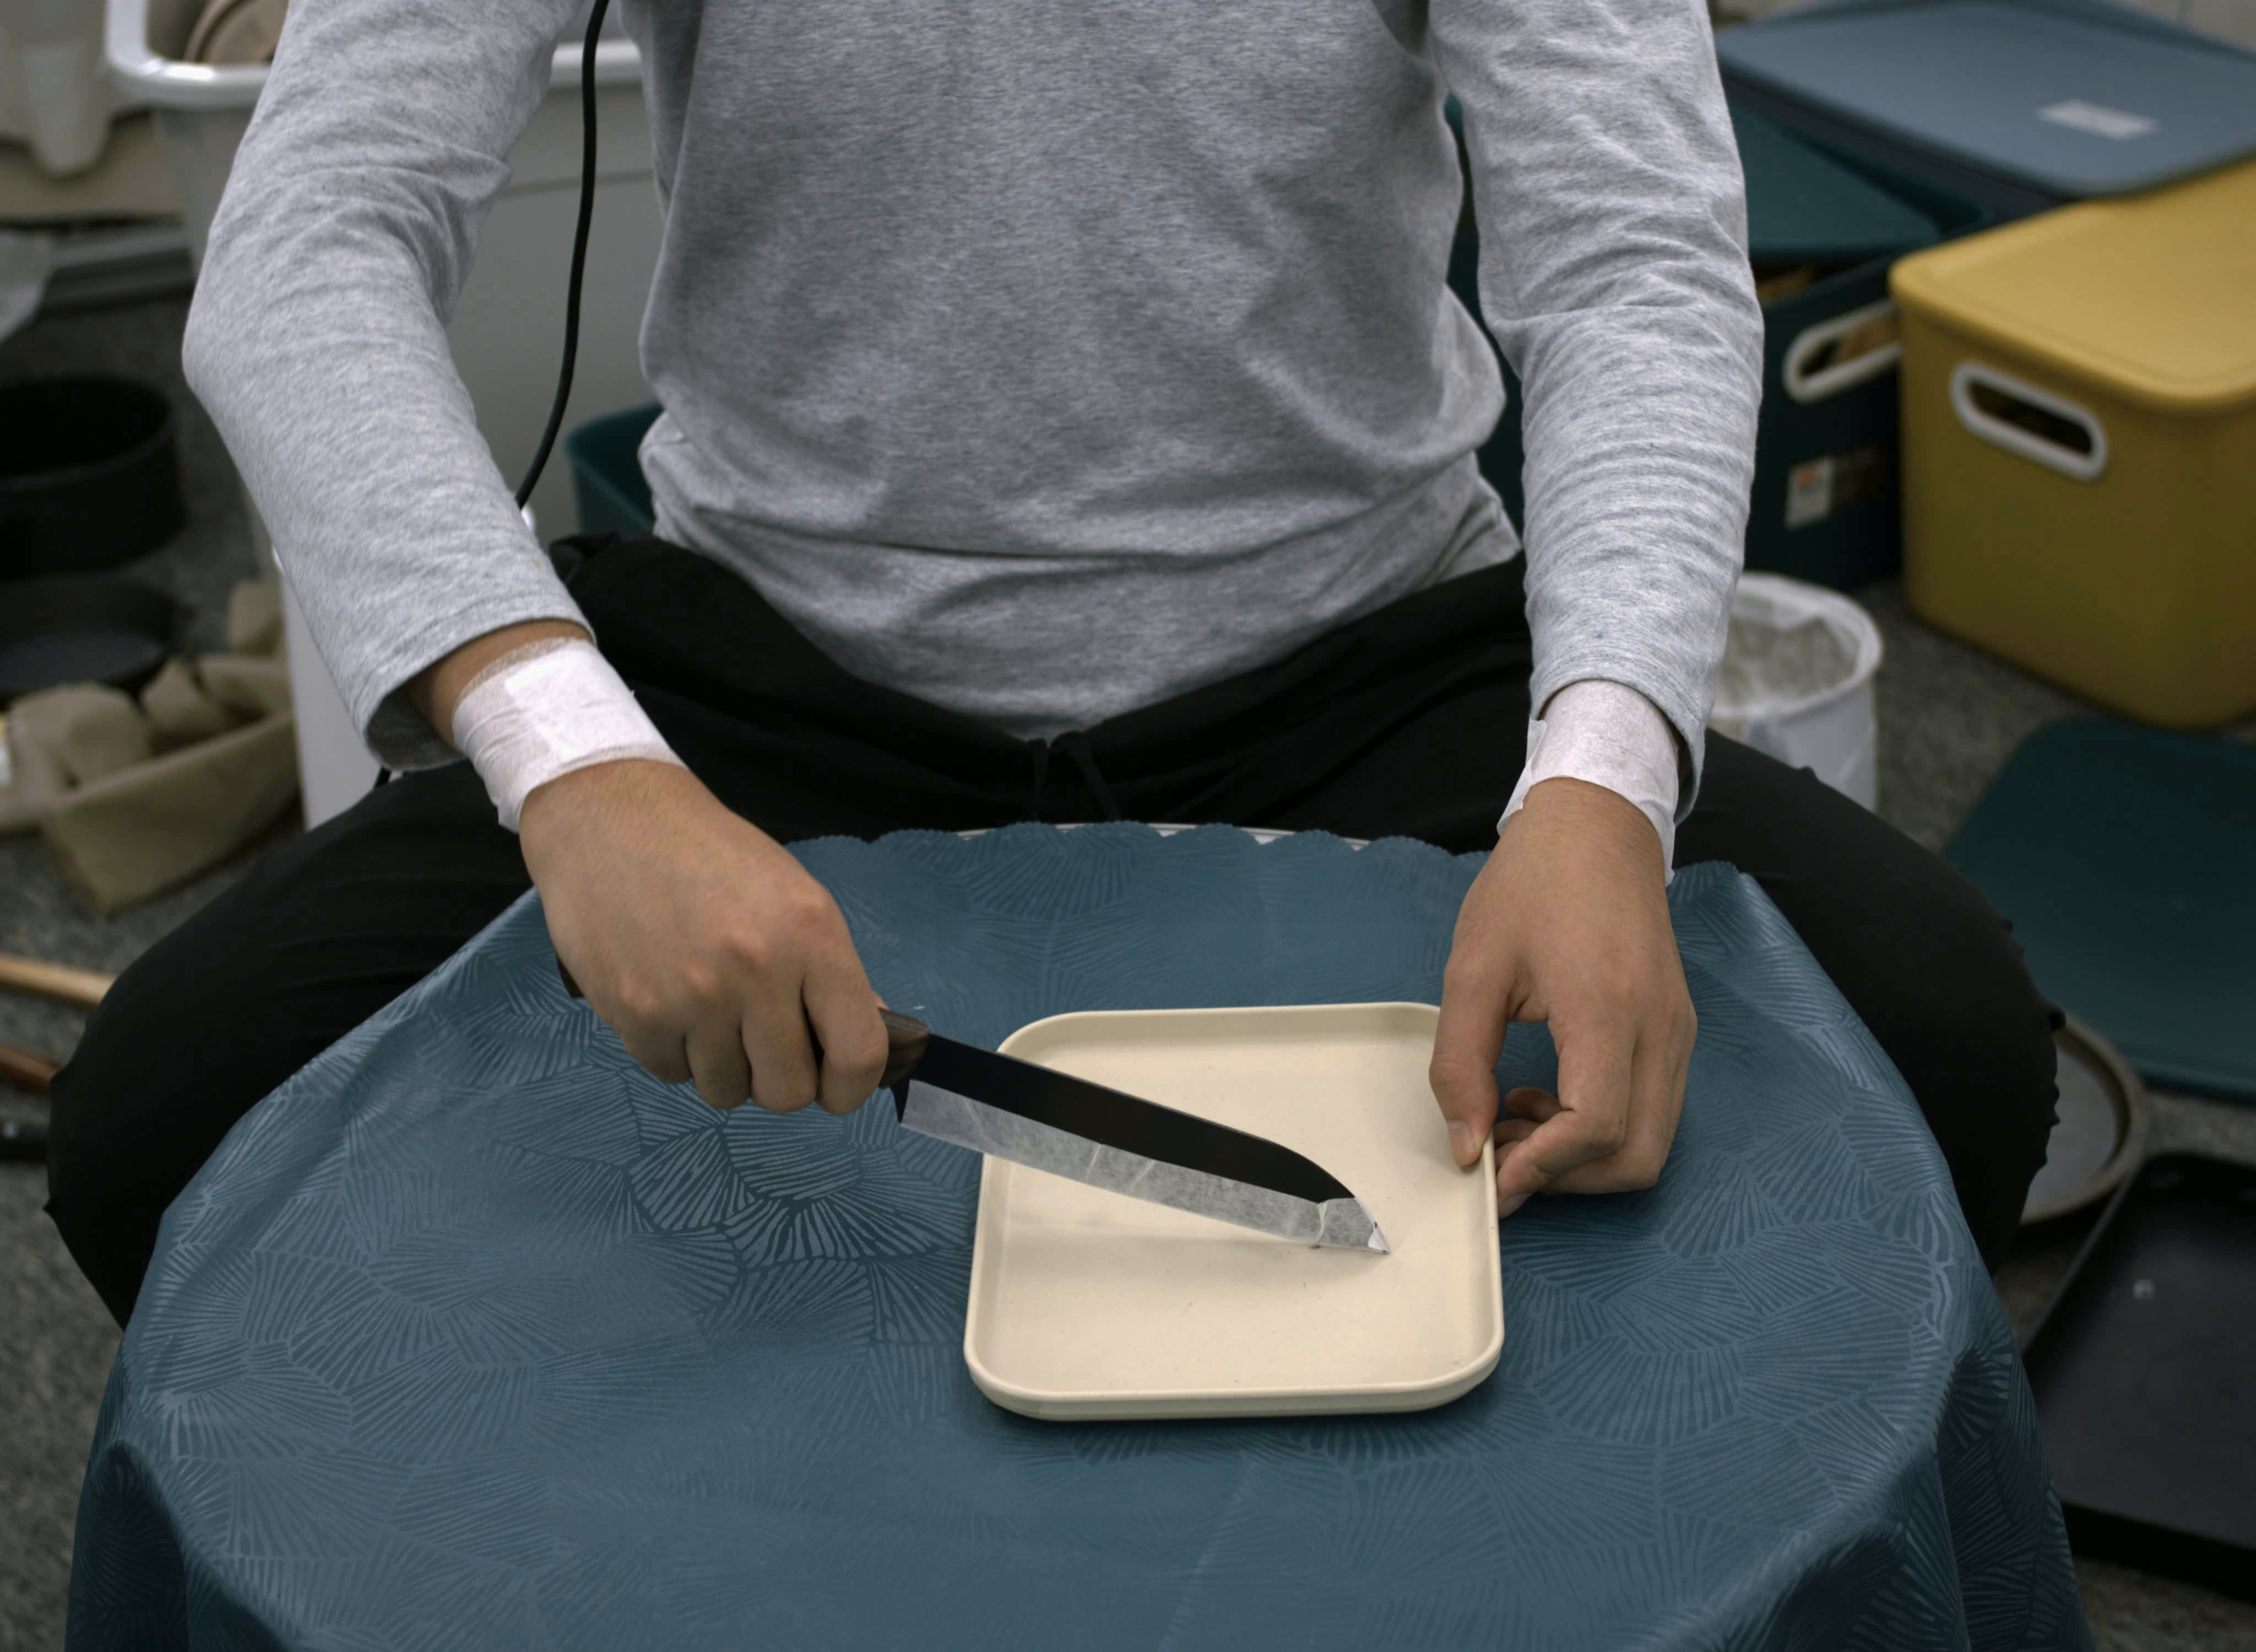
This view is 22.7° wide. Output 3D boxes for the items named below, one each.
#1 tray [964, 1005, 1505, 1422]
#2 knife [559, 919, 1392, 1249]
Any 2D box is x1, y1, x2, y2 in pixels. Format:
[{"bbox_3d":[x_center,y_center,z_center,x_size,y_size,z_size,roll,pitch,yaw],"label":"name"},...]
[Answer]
[{"bbox_3d":[0.036,0.125,1.832,0.170,0.017,0.243,-1,27,3],"label":"tray"},{"bbox_3d":[-0.050,0.085,1.822,0.288,0.049,0.020,19,40,5],"label":"knife"}]
